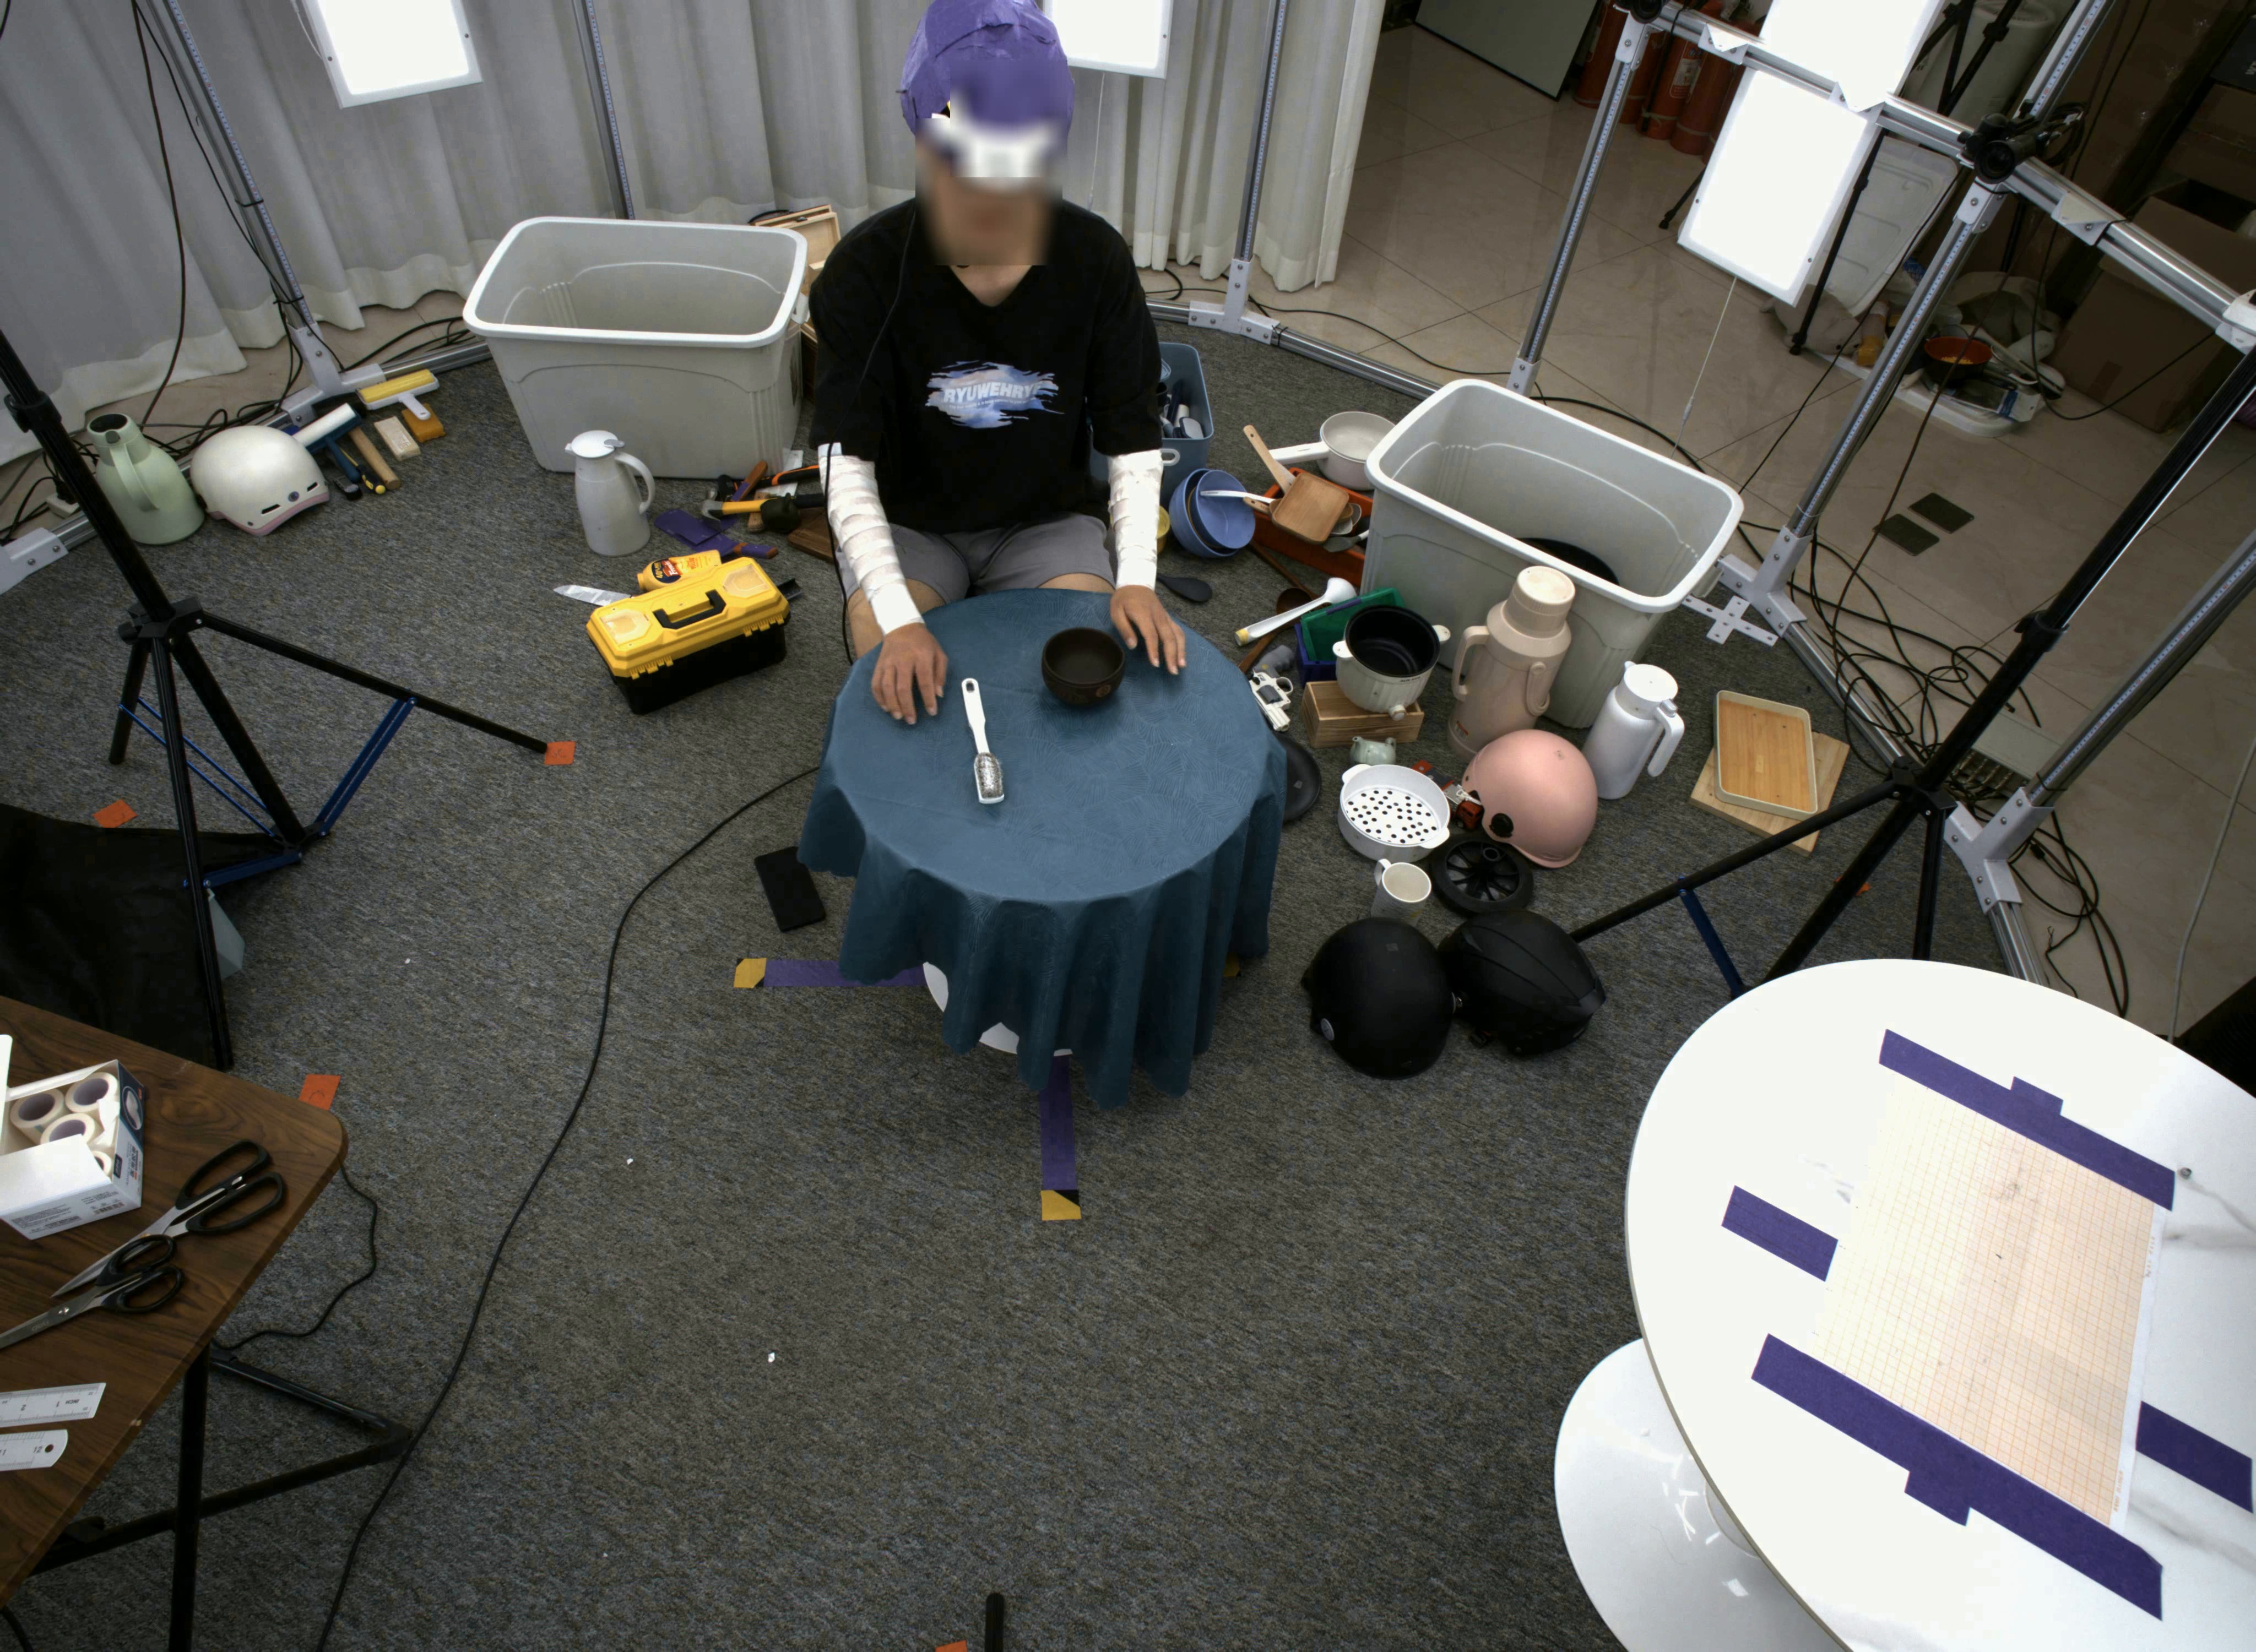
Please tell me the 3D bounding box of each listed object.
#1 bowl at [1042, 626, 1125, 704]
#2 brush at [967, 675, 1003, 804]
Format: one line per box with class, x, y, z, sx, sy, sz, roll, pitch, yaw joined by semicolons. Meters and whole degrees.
bowl;-0.063;-0.219;1.811;0.118;0.068;0.121;1;48;-2
brush;-0.197;-0.130;1.741;0.034;0.049;0.250;-4;51;-9
